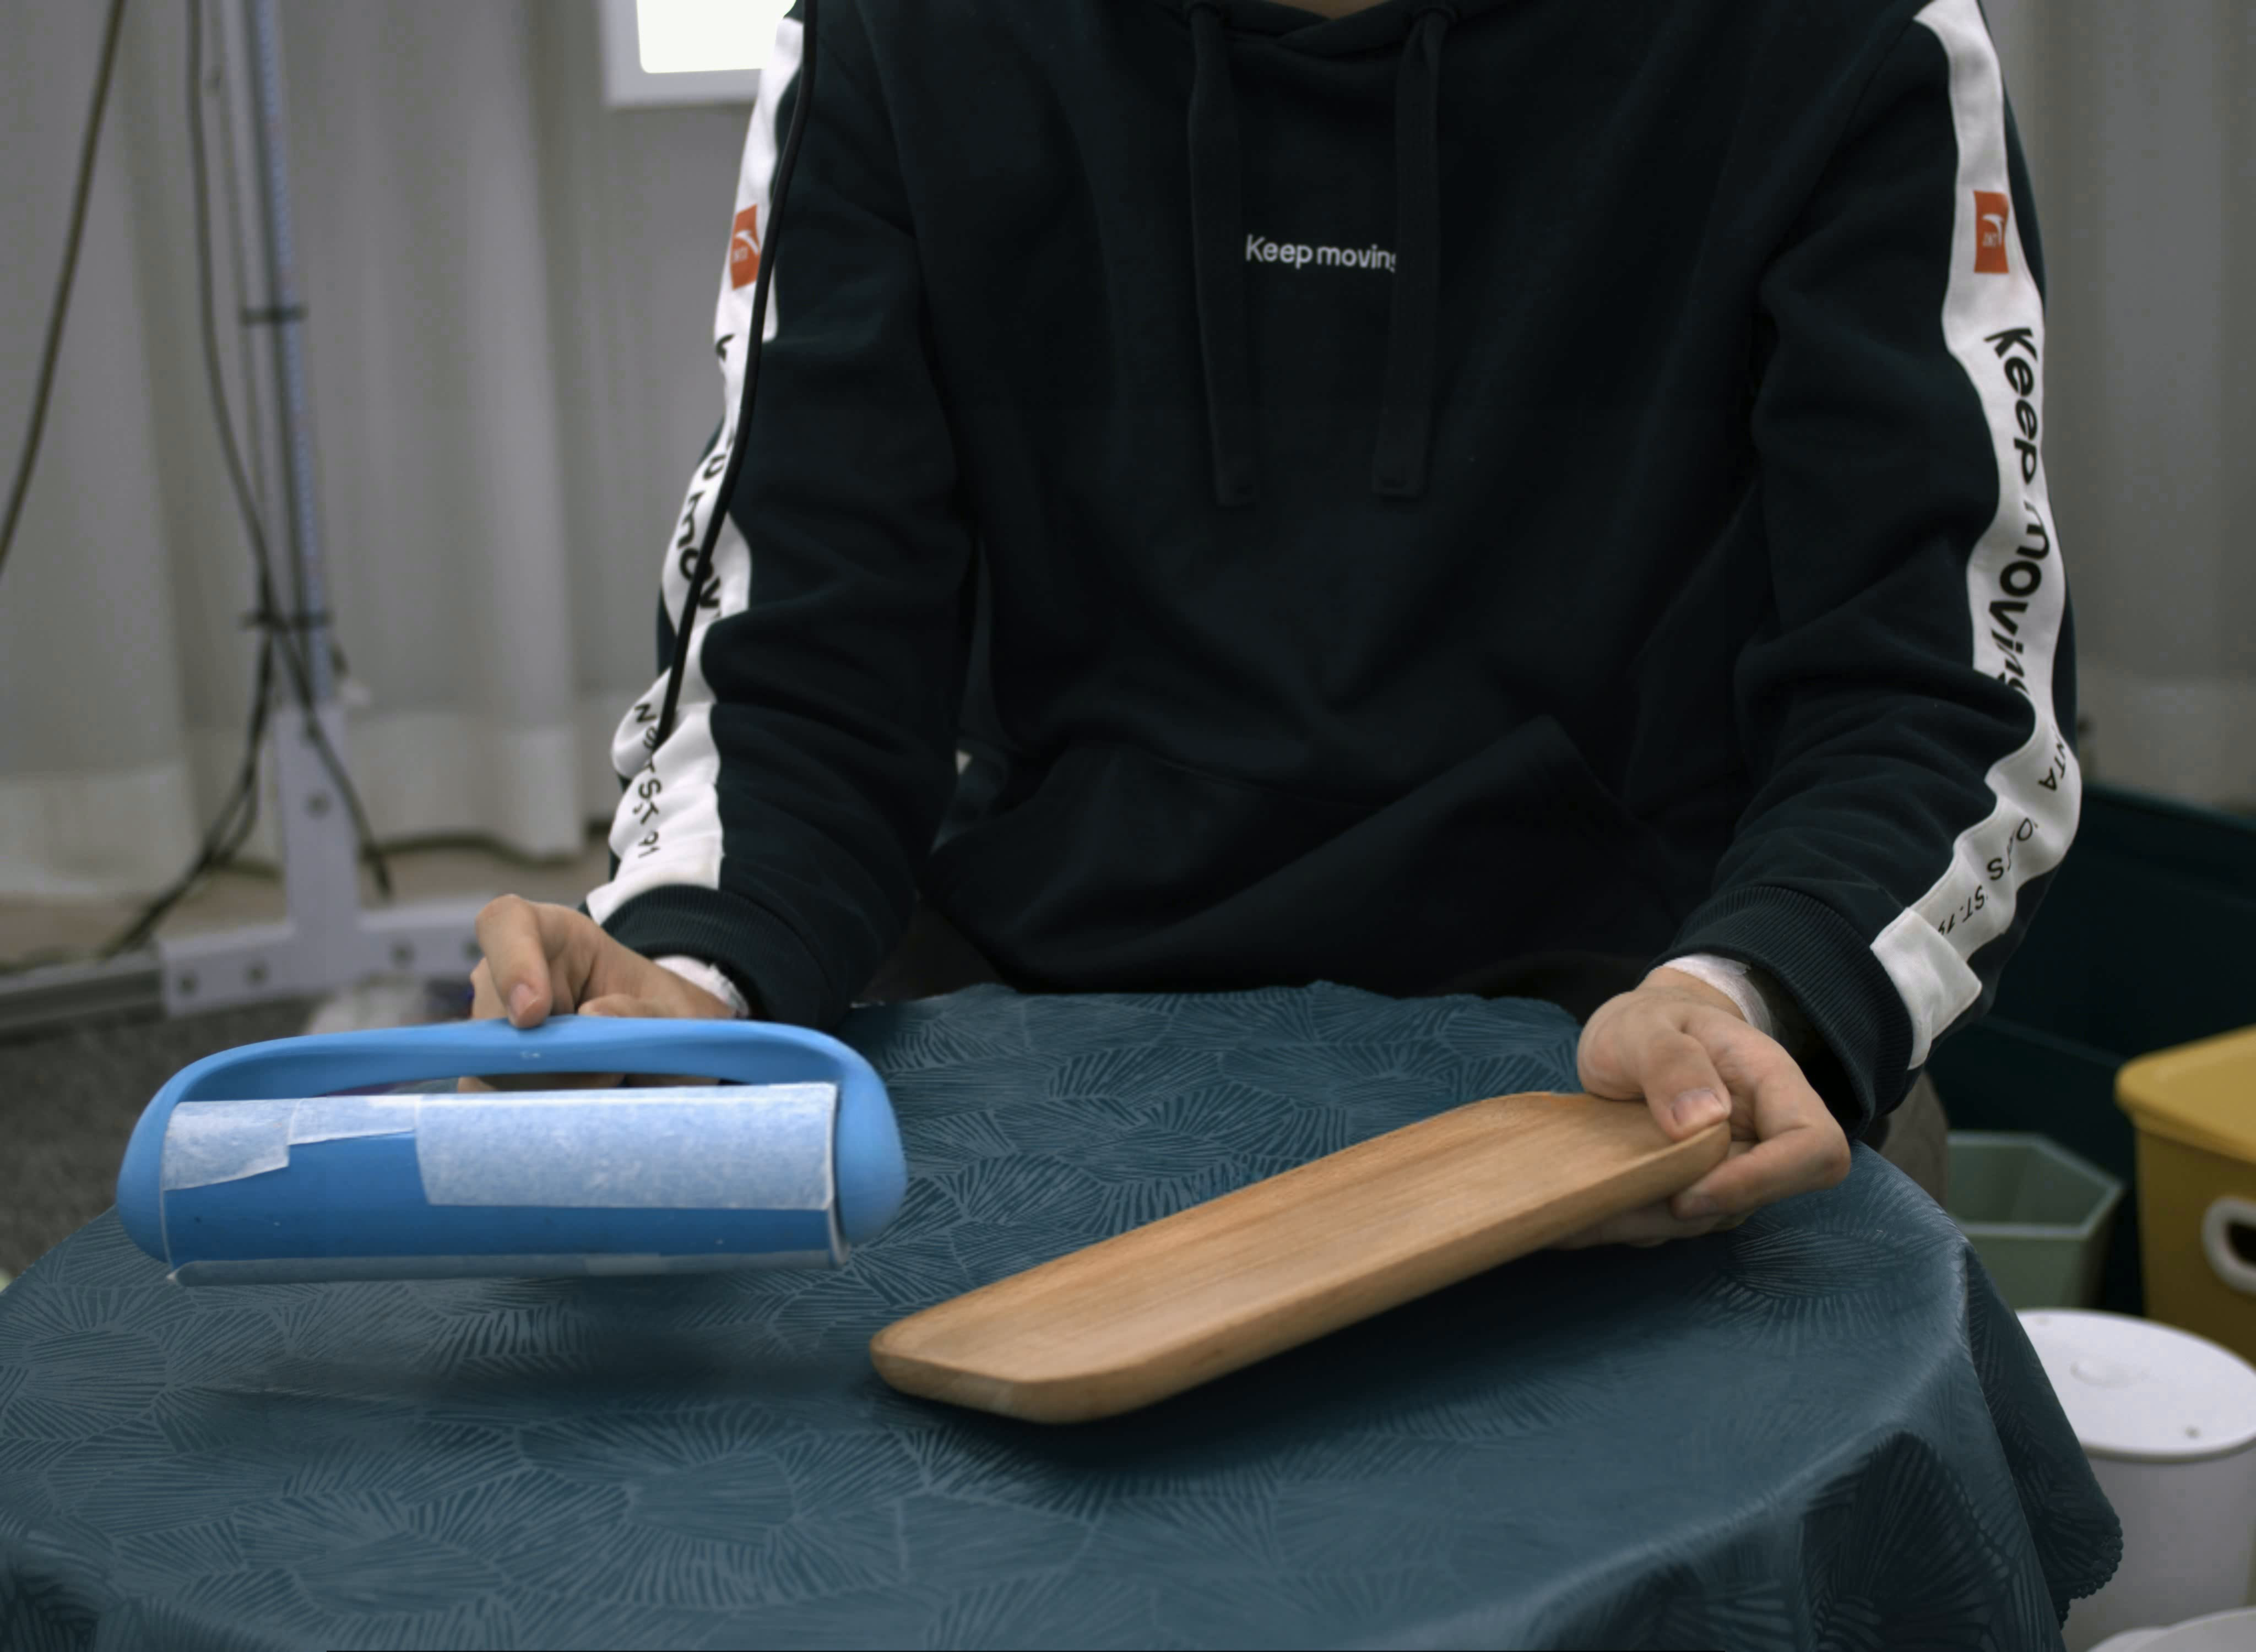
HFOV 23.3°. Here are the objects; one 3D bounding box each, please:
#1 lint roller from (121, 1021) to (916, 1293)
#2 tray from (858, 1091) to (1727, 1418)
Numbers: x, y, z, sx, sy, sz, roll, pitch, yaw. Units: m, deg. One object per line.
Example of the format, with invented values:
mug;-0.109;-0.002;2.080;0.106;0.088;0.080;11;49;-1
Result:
lint roller;-0.174;0.088;1.623;0.228;0.067;0.181;-4;14;1
tray;0.050;0.122;1.576;0.250;0.023;0.131;-19;8;-29
